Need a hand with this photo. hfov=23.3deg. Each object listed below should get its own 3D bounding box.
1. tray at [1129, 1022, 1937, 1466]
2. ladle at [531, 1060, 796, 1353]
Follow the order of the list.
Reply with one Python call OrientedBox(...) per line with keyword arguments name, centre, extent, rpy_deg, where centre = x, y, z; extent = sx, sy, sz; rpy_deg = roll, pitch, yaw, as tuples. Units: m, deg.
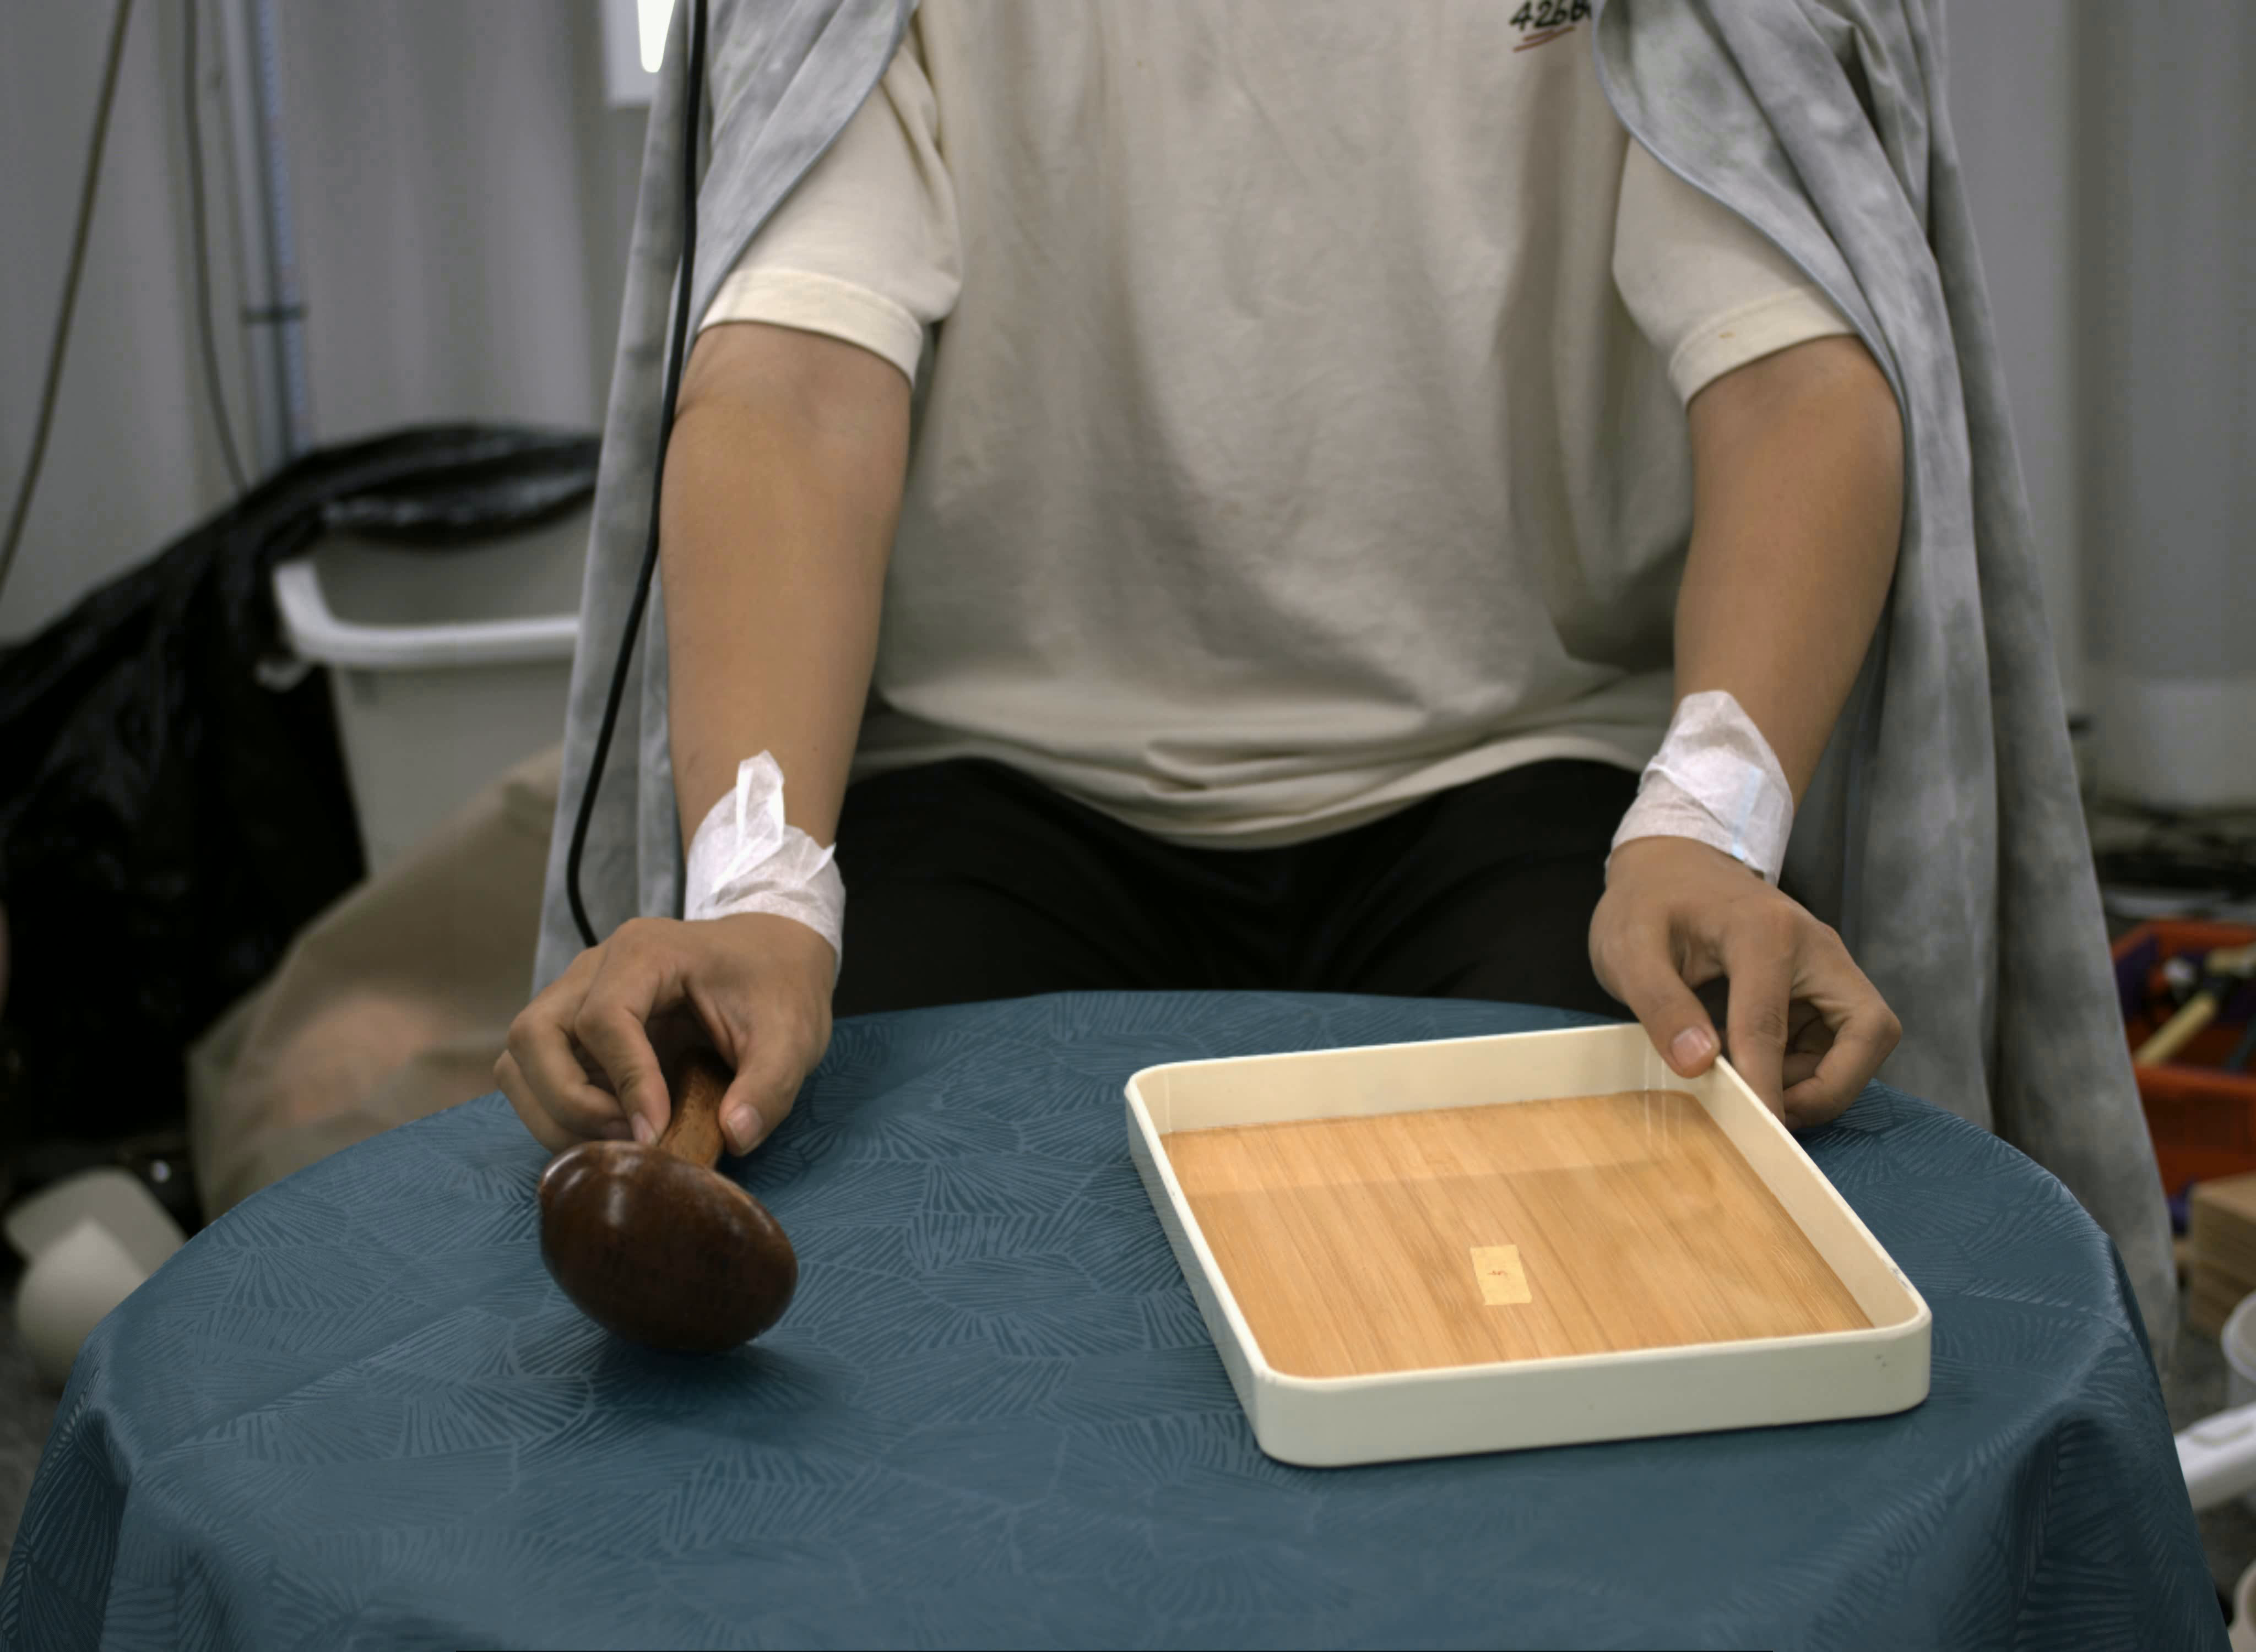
OrientedBox(name="tray", centre=(0.112, 0.120, 1.627), extent=(0.191, 0.027, 0.302), rpy_deg=(-5, 15, -6))
OrientedBox(name="ladle", centre=(-0.127, 0.094, 1.677), extent=(0.081, 0.076, 0.276), rpy_deg=(35, 15, -5))
